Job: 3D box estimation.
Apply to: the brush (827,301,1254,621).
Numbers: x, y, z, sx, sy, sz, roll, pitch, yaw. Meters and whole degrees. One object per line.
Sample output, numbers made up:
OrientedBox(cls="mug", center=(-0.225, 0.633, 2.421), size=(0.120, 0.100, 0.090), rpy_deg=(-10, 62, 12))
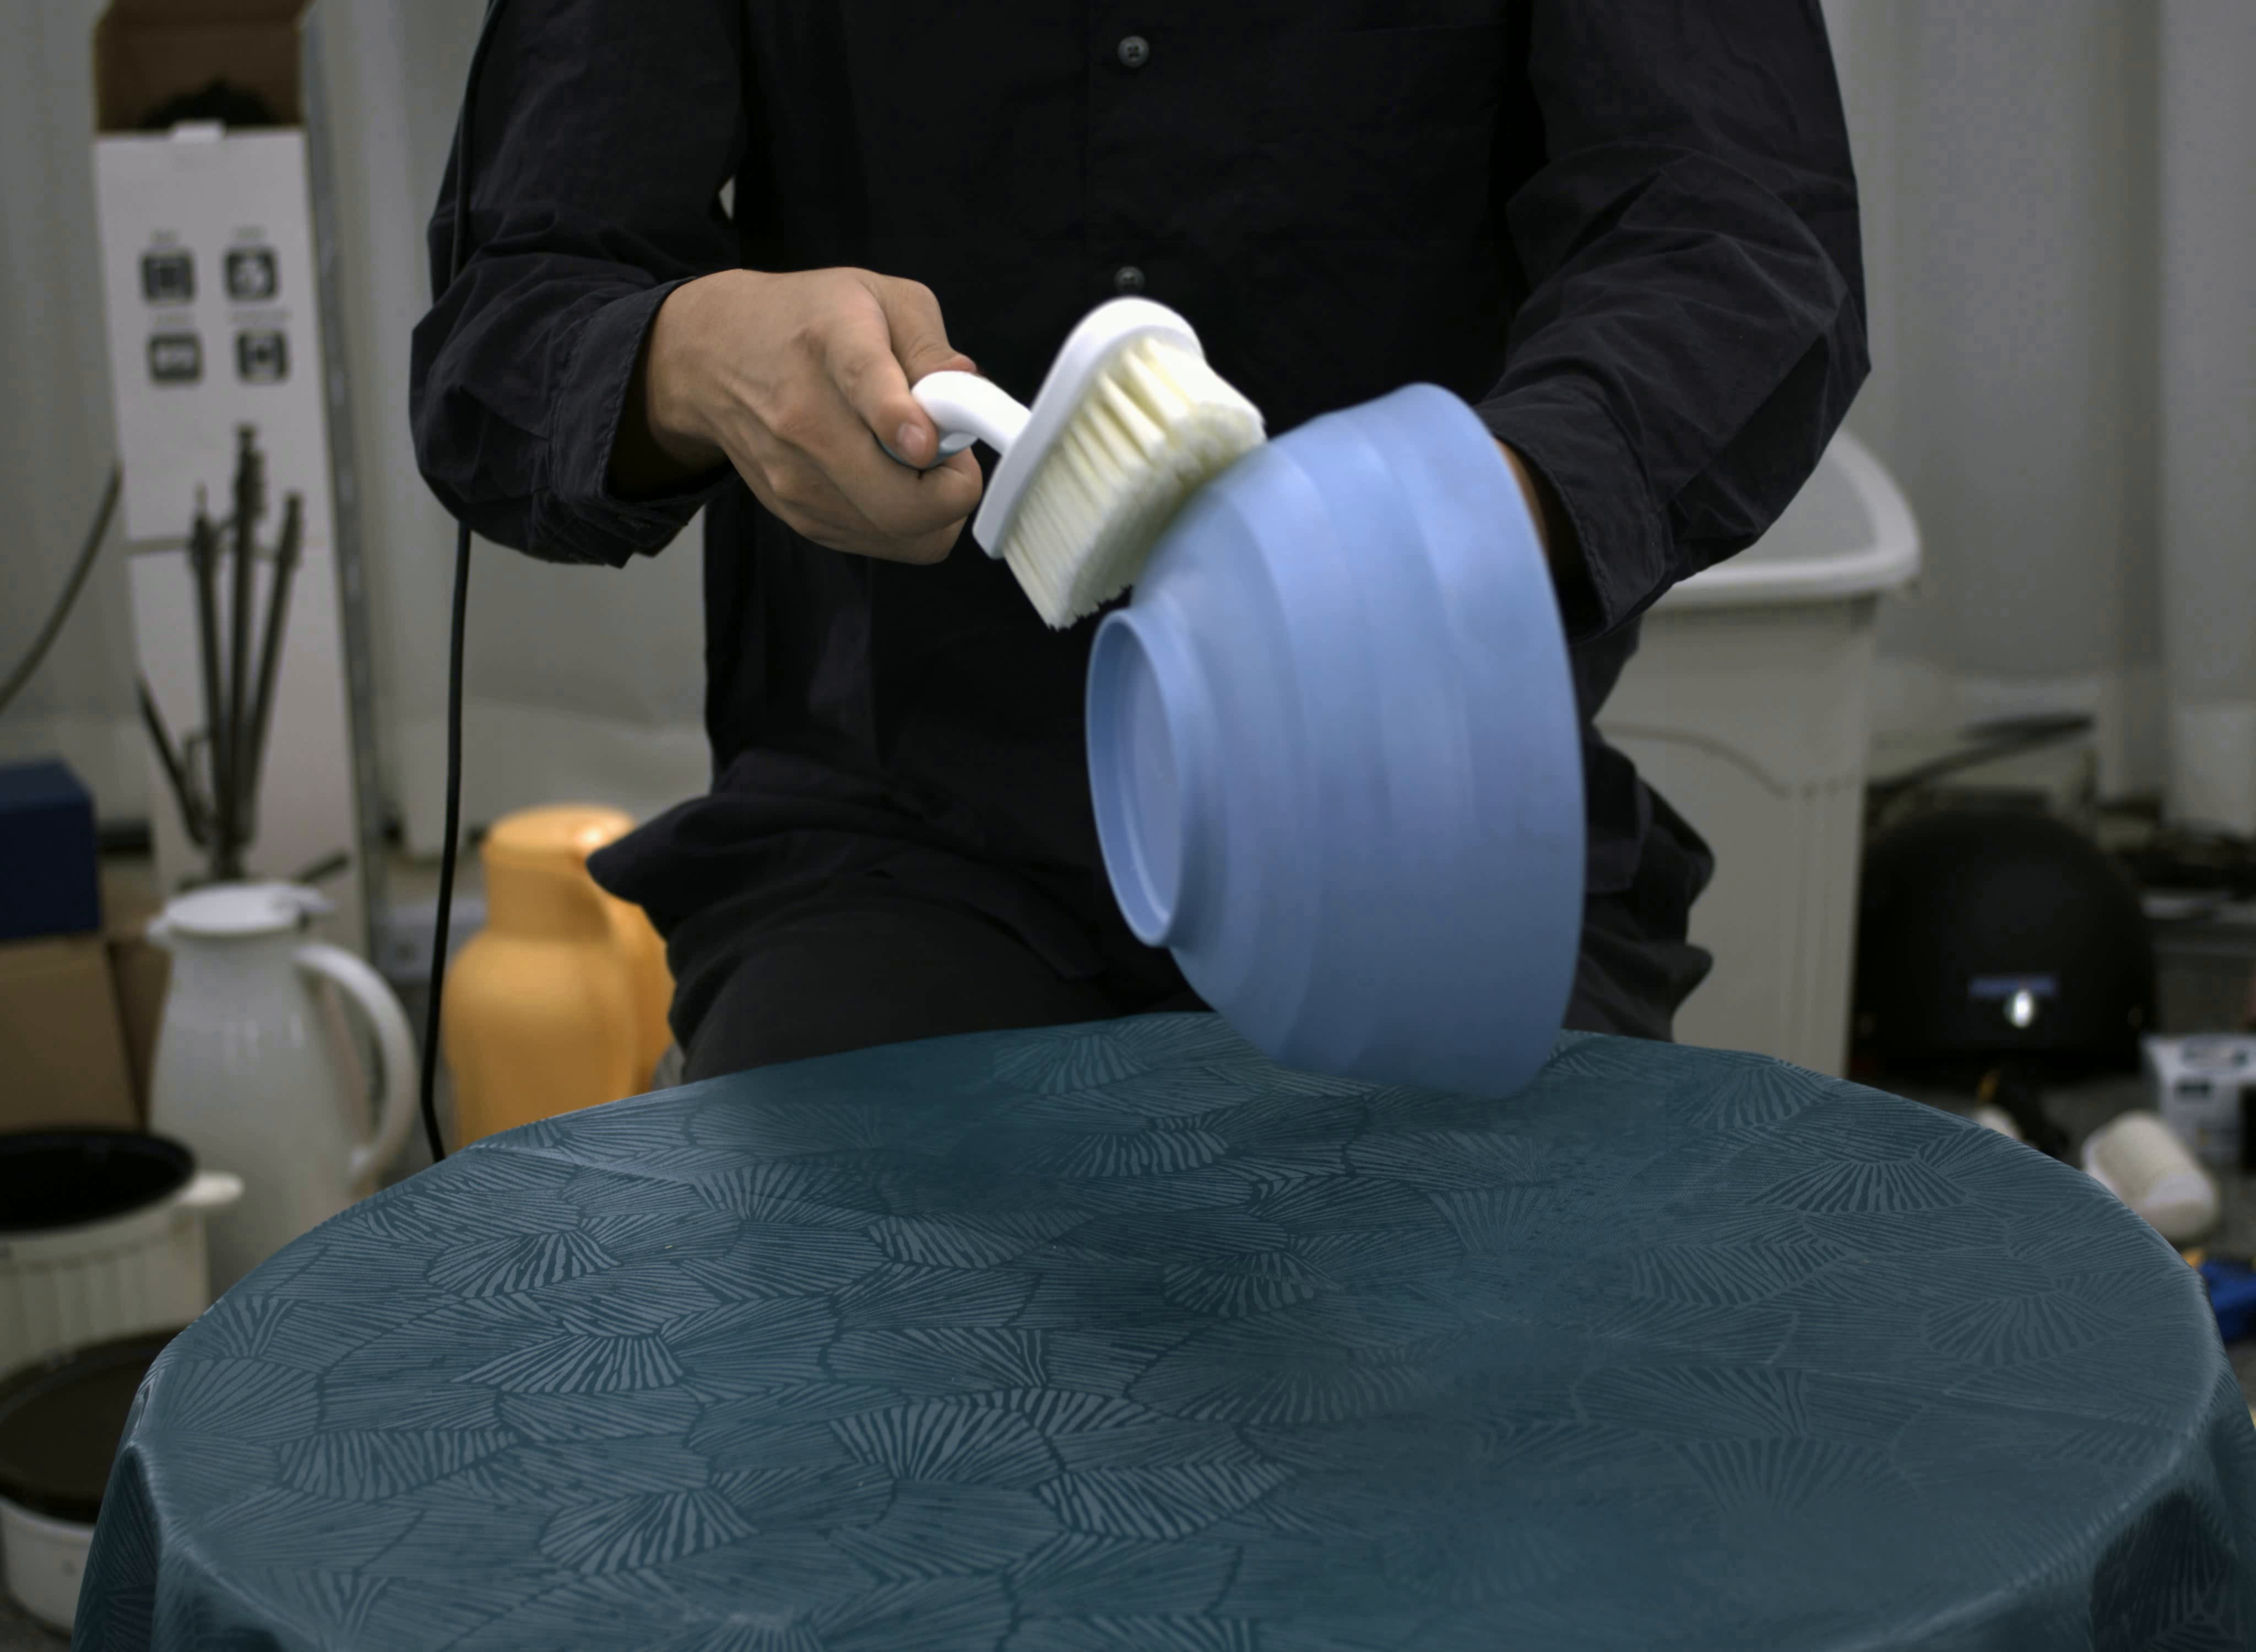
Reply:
OrientedBox(cls="brush", center=(-0.024, -0.096, 1.618), size=(0.082, 0.085, 0.325), rpy_deg=(4, -5, -14))

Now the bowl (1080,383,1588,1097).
OrientedBox(cls="bowl", center=(0.045, -0.018, 1.486), size=(0.095, 0.196, 0.198), rpy_deg=(-7, 15, -16))
